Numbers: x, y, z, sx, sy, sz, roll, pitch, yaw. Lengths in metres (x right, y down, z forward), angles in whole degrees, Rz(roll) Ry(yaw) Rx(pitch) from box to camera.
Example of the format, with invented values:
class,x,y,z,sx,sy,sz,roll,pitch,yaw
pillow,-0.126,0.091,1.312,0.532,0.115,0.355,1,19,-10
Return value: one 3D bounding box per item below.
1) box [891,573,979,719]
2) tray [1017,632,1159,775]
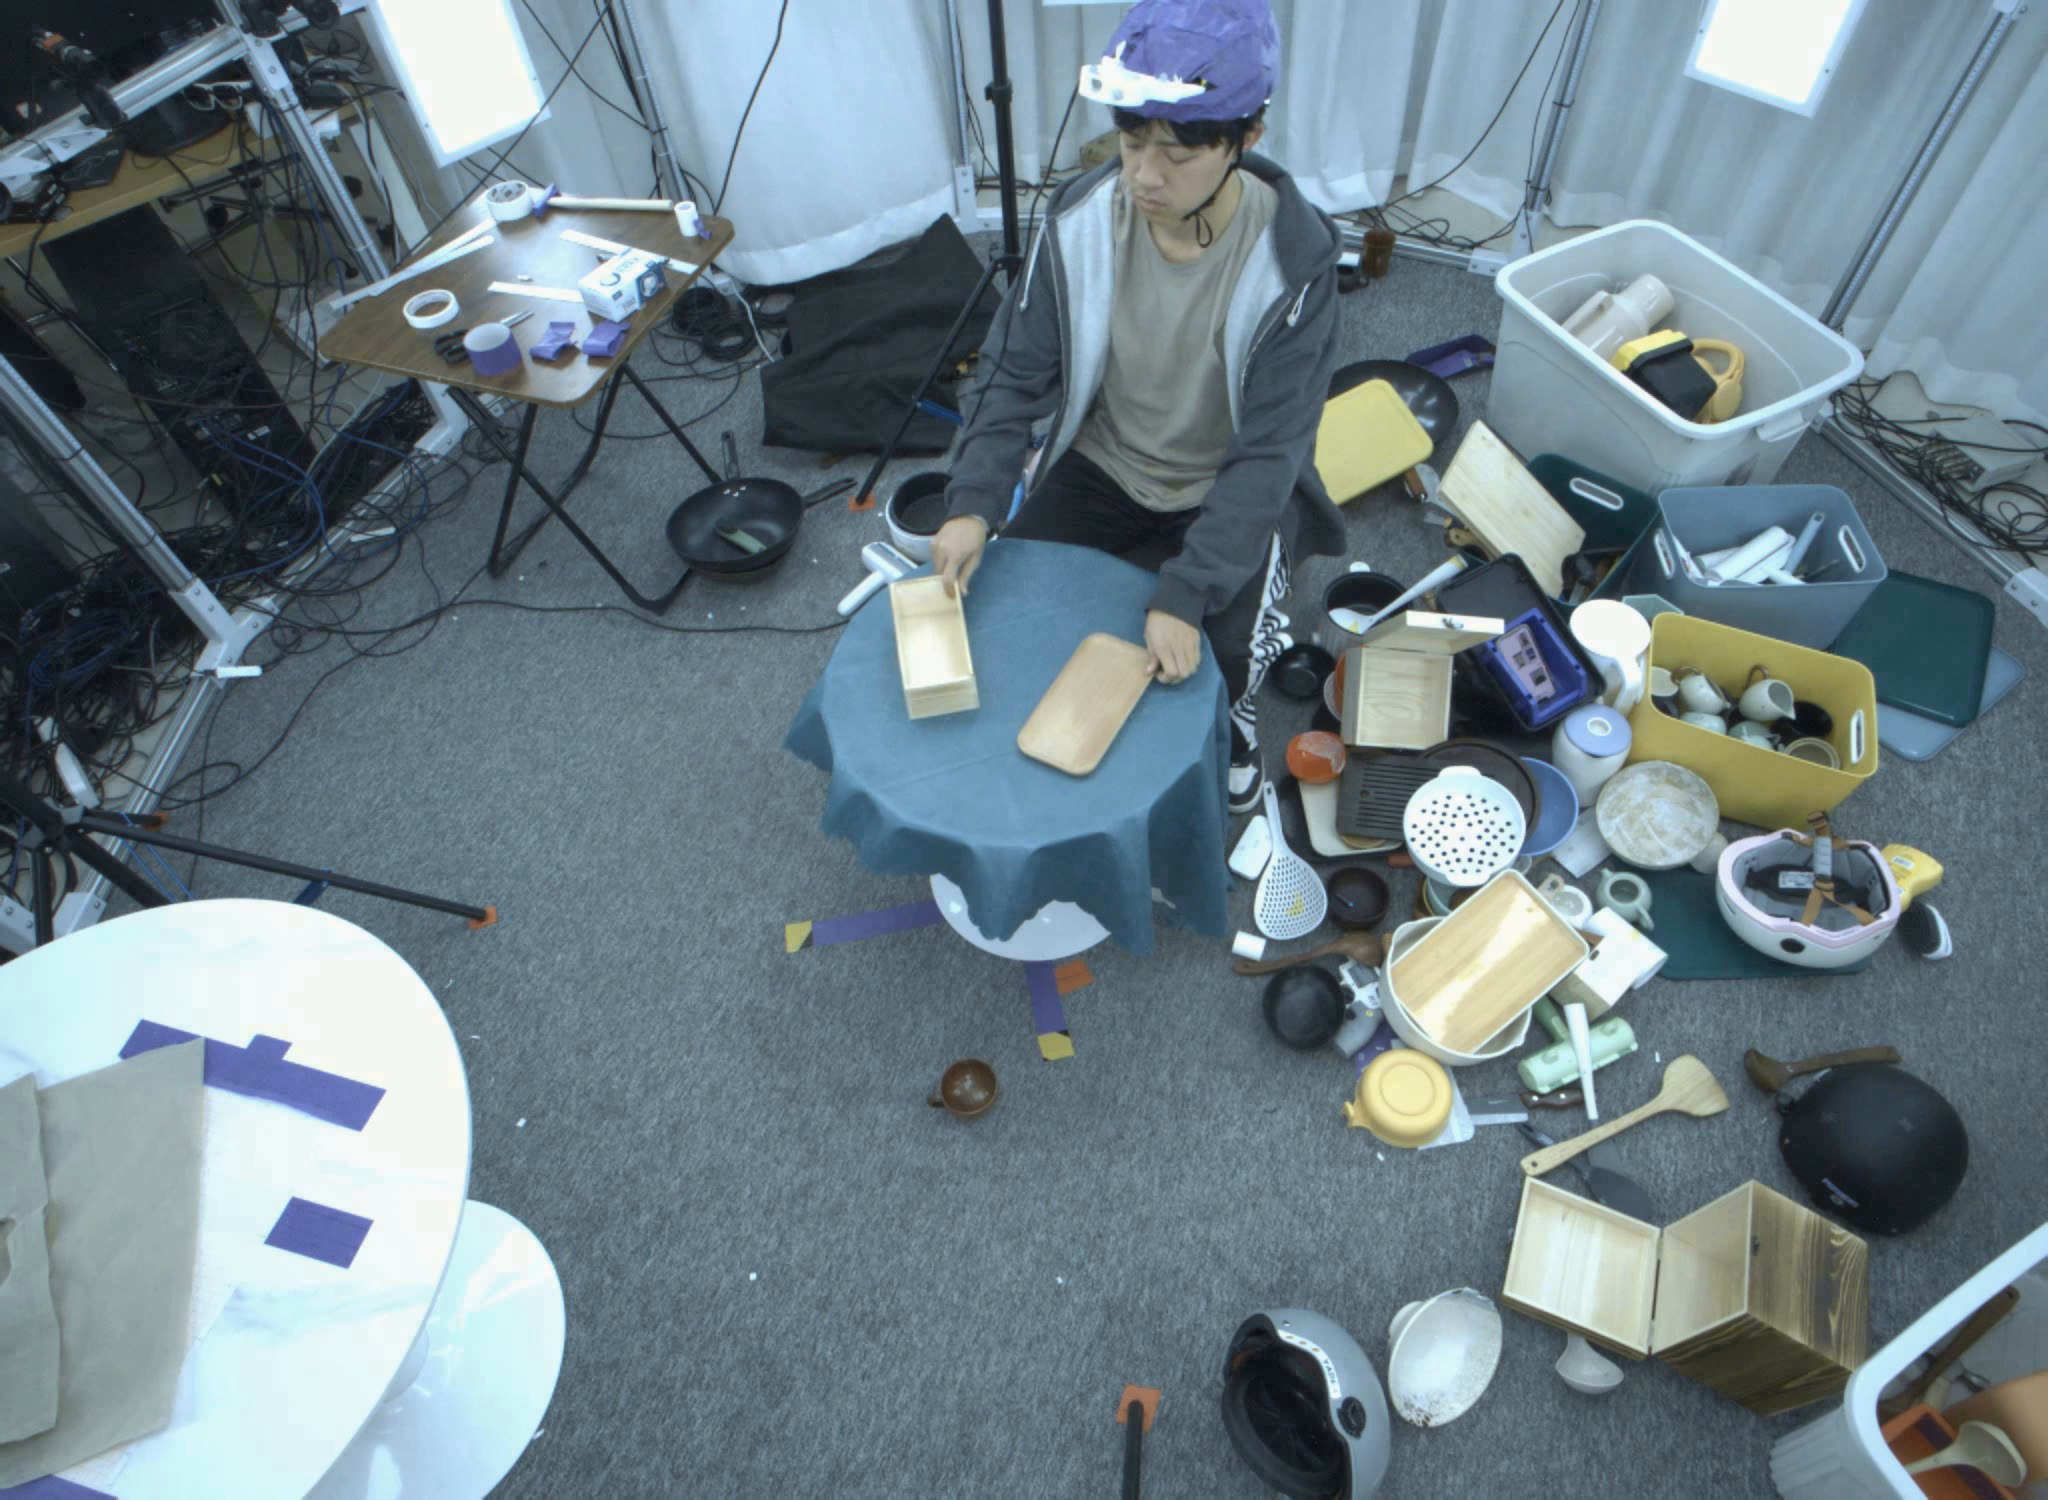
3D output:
class,x,y,z,sx,sy,sz,roll,pitch,yaw
box,-0.137,-0.160,1.860,0.108,0.081,0.208,-9,55,-3
tray,0.096,-0.071,1.824,0.129,0.023,0.251,26,60,16
